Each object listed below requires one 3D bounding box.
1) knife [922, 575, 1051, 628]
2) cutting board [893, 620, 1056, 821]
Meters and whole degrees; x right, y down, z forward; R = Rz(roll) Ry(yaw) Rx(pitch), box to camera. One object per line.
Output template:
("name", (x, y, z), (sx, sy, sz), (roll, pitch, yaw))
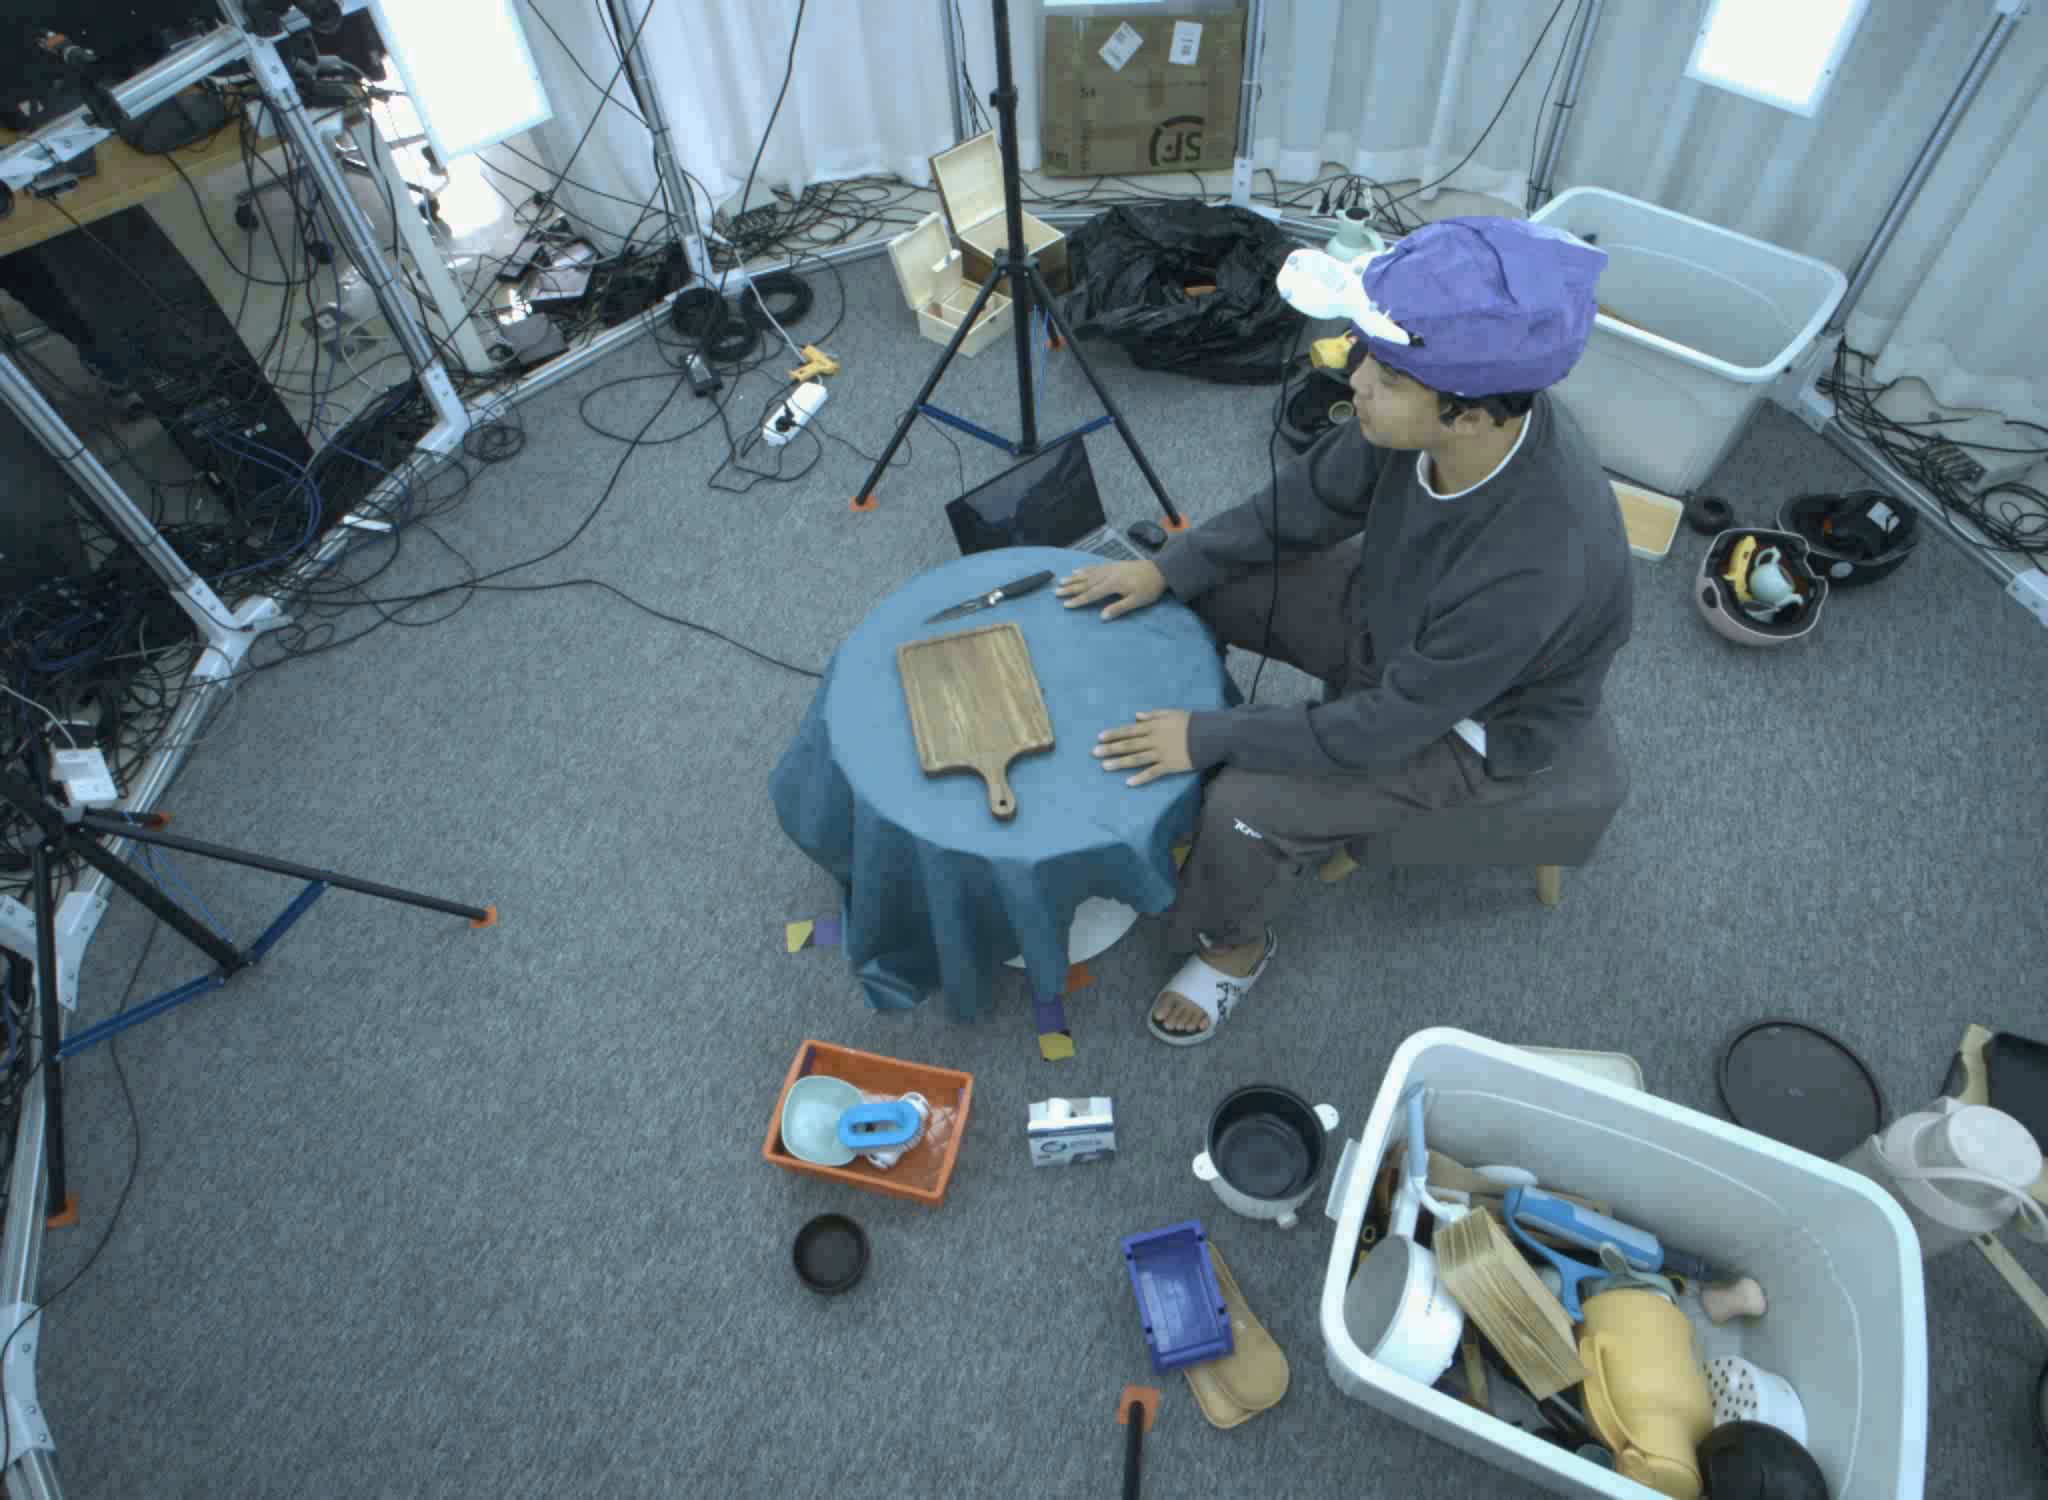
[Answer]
("knife", (-0.059, -0.236, 1.950), (0.227, 0.017, 0.026), (-21, 63, -12))
("cutting board", (-0.066, -0.043, 1.807), (0.202, 0.023, 0.346), (-12, 56, -7))
